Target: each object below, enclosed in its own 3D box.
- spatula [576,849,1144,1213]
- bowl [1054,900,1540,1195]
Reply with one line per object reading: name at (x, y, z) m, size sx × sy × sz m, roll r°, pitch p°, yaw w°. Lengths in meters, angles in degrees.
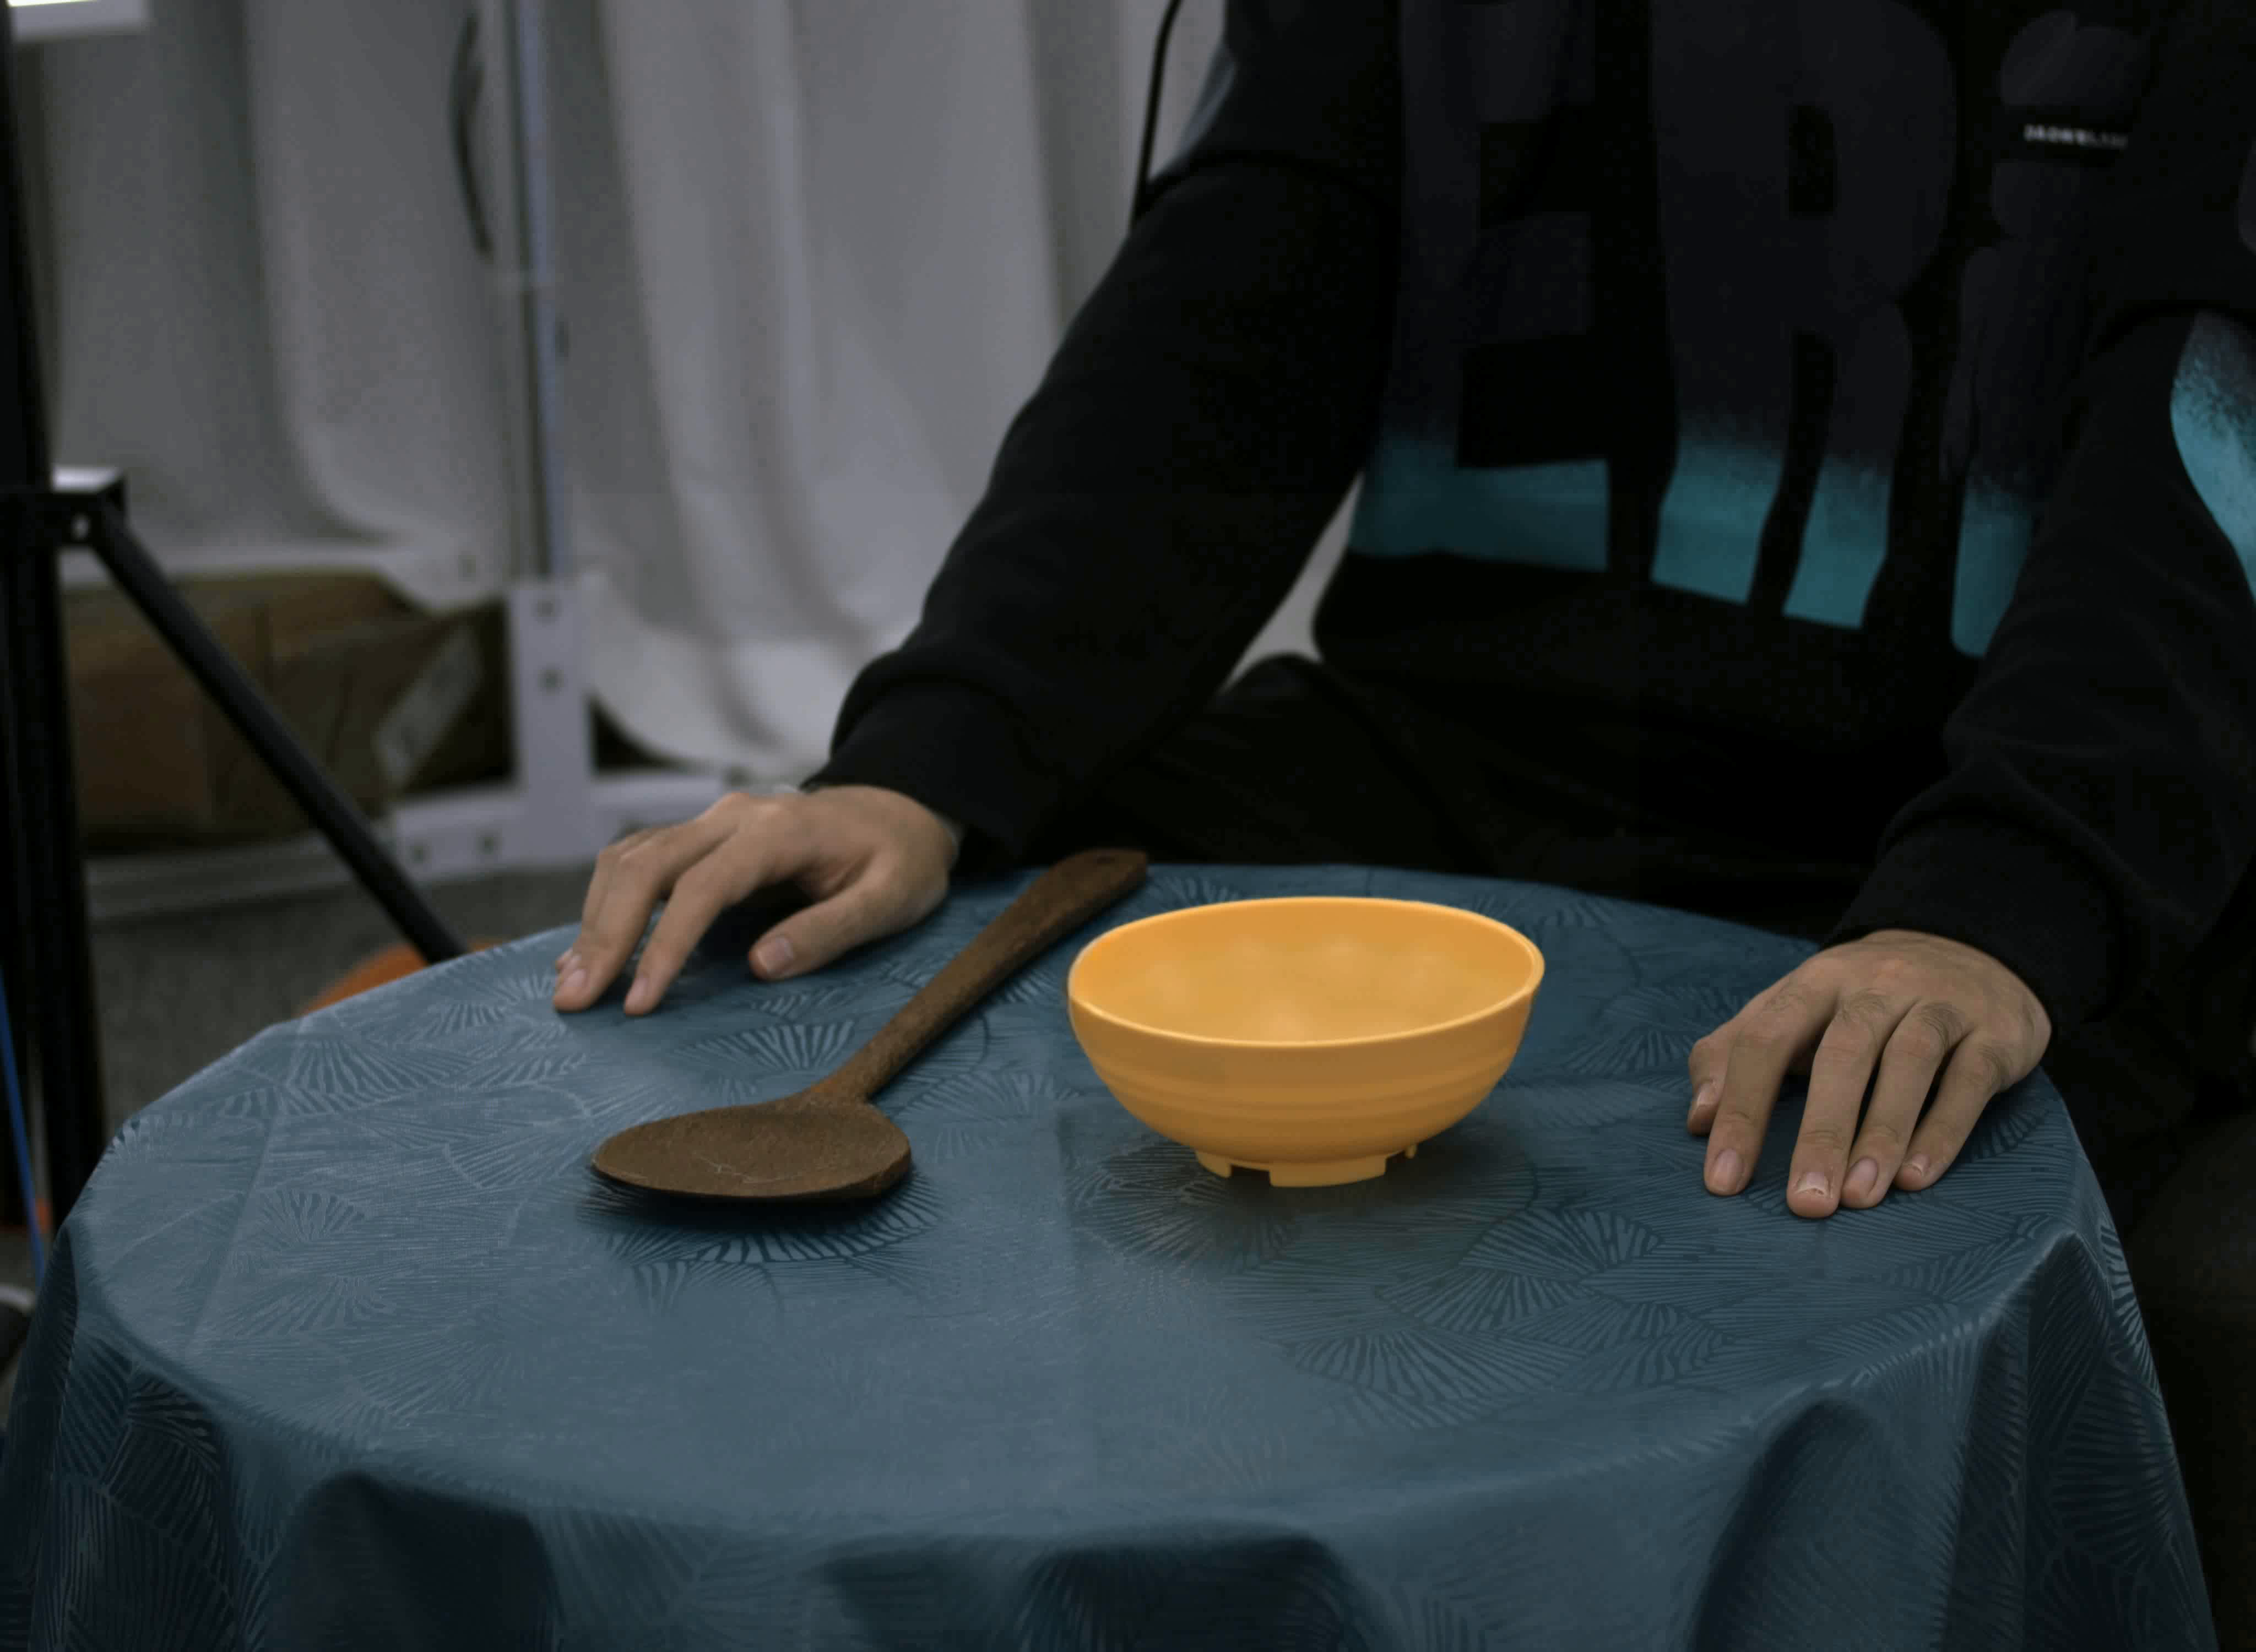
spatula at (-0.064, 0.060, 1.714) m, size 0.097 × 0.016 × 0.381 m, roll 3°, pitch 17°, yaw 19°
bowl at (0.050, 0.071, 1.580) m, size 0.144 × 0.060 × 0.146 m, roll 0°, pitch 16°, yaw -1°
